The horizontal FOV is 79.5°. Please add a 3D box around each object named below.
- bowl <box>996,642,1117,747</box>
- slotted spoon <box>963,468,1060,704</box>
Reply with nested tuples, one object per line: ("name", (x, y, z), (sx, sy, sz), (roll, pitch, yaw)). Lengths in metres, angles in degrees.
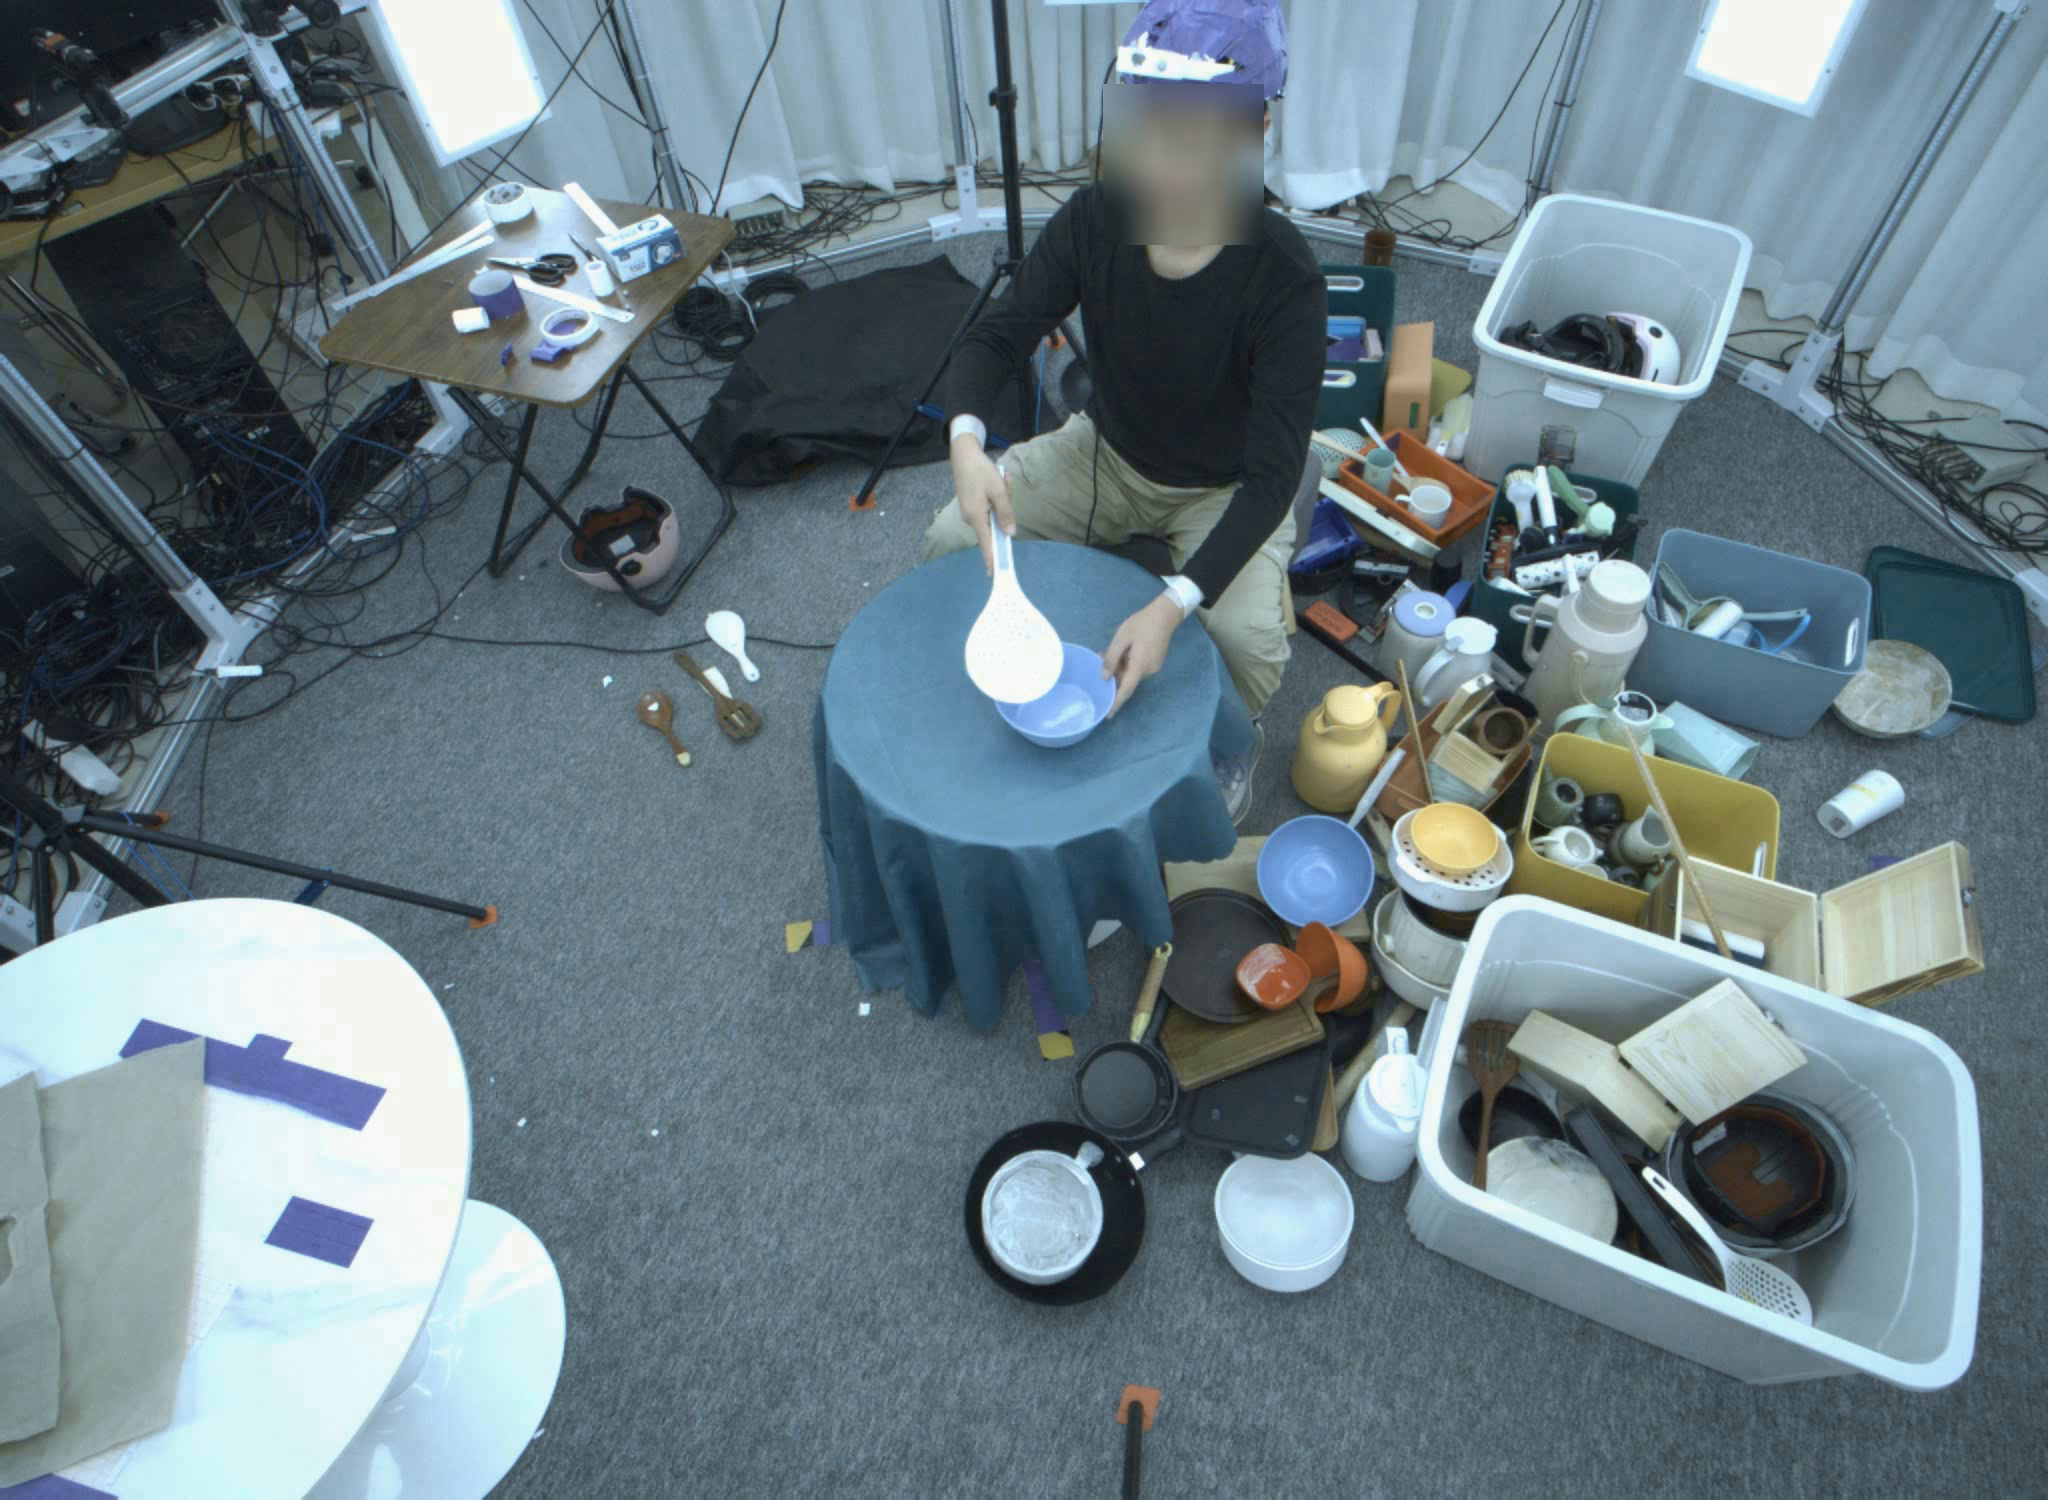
("bowl", (0.047, -0.070, 1.792), (0.176, 0.071, 0.174), (0, 55, 1))
("slotted spoon", (-0.031, -0.236, 1.739), (0.137, 0.045, 0.349), (-5, 87, -10))
